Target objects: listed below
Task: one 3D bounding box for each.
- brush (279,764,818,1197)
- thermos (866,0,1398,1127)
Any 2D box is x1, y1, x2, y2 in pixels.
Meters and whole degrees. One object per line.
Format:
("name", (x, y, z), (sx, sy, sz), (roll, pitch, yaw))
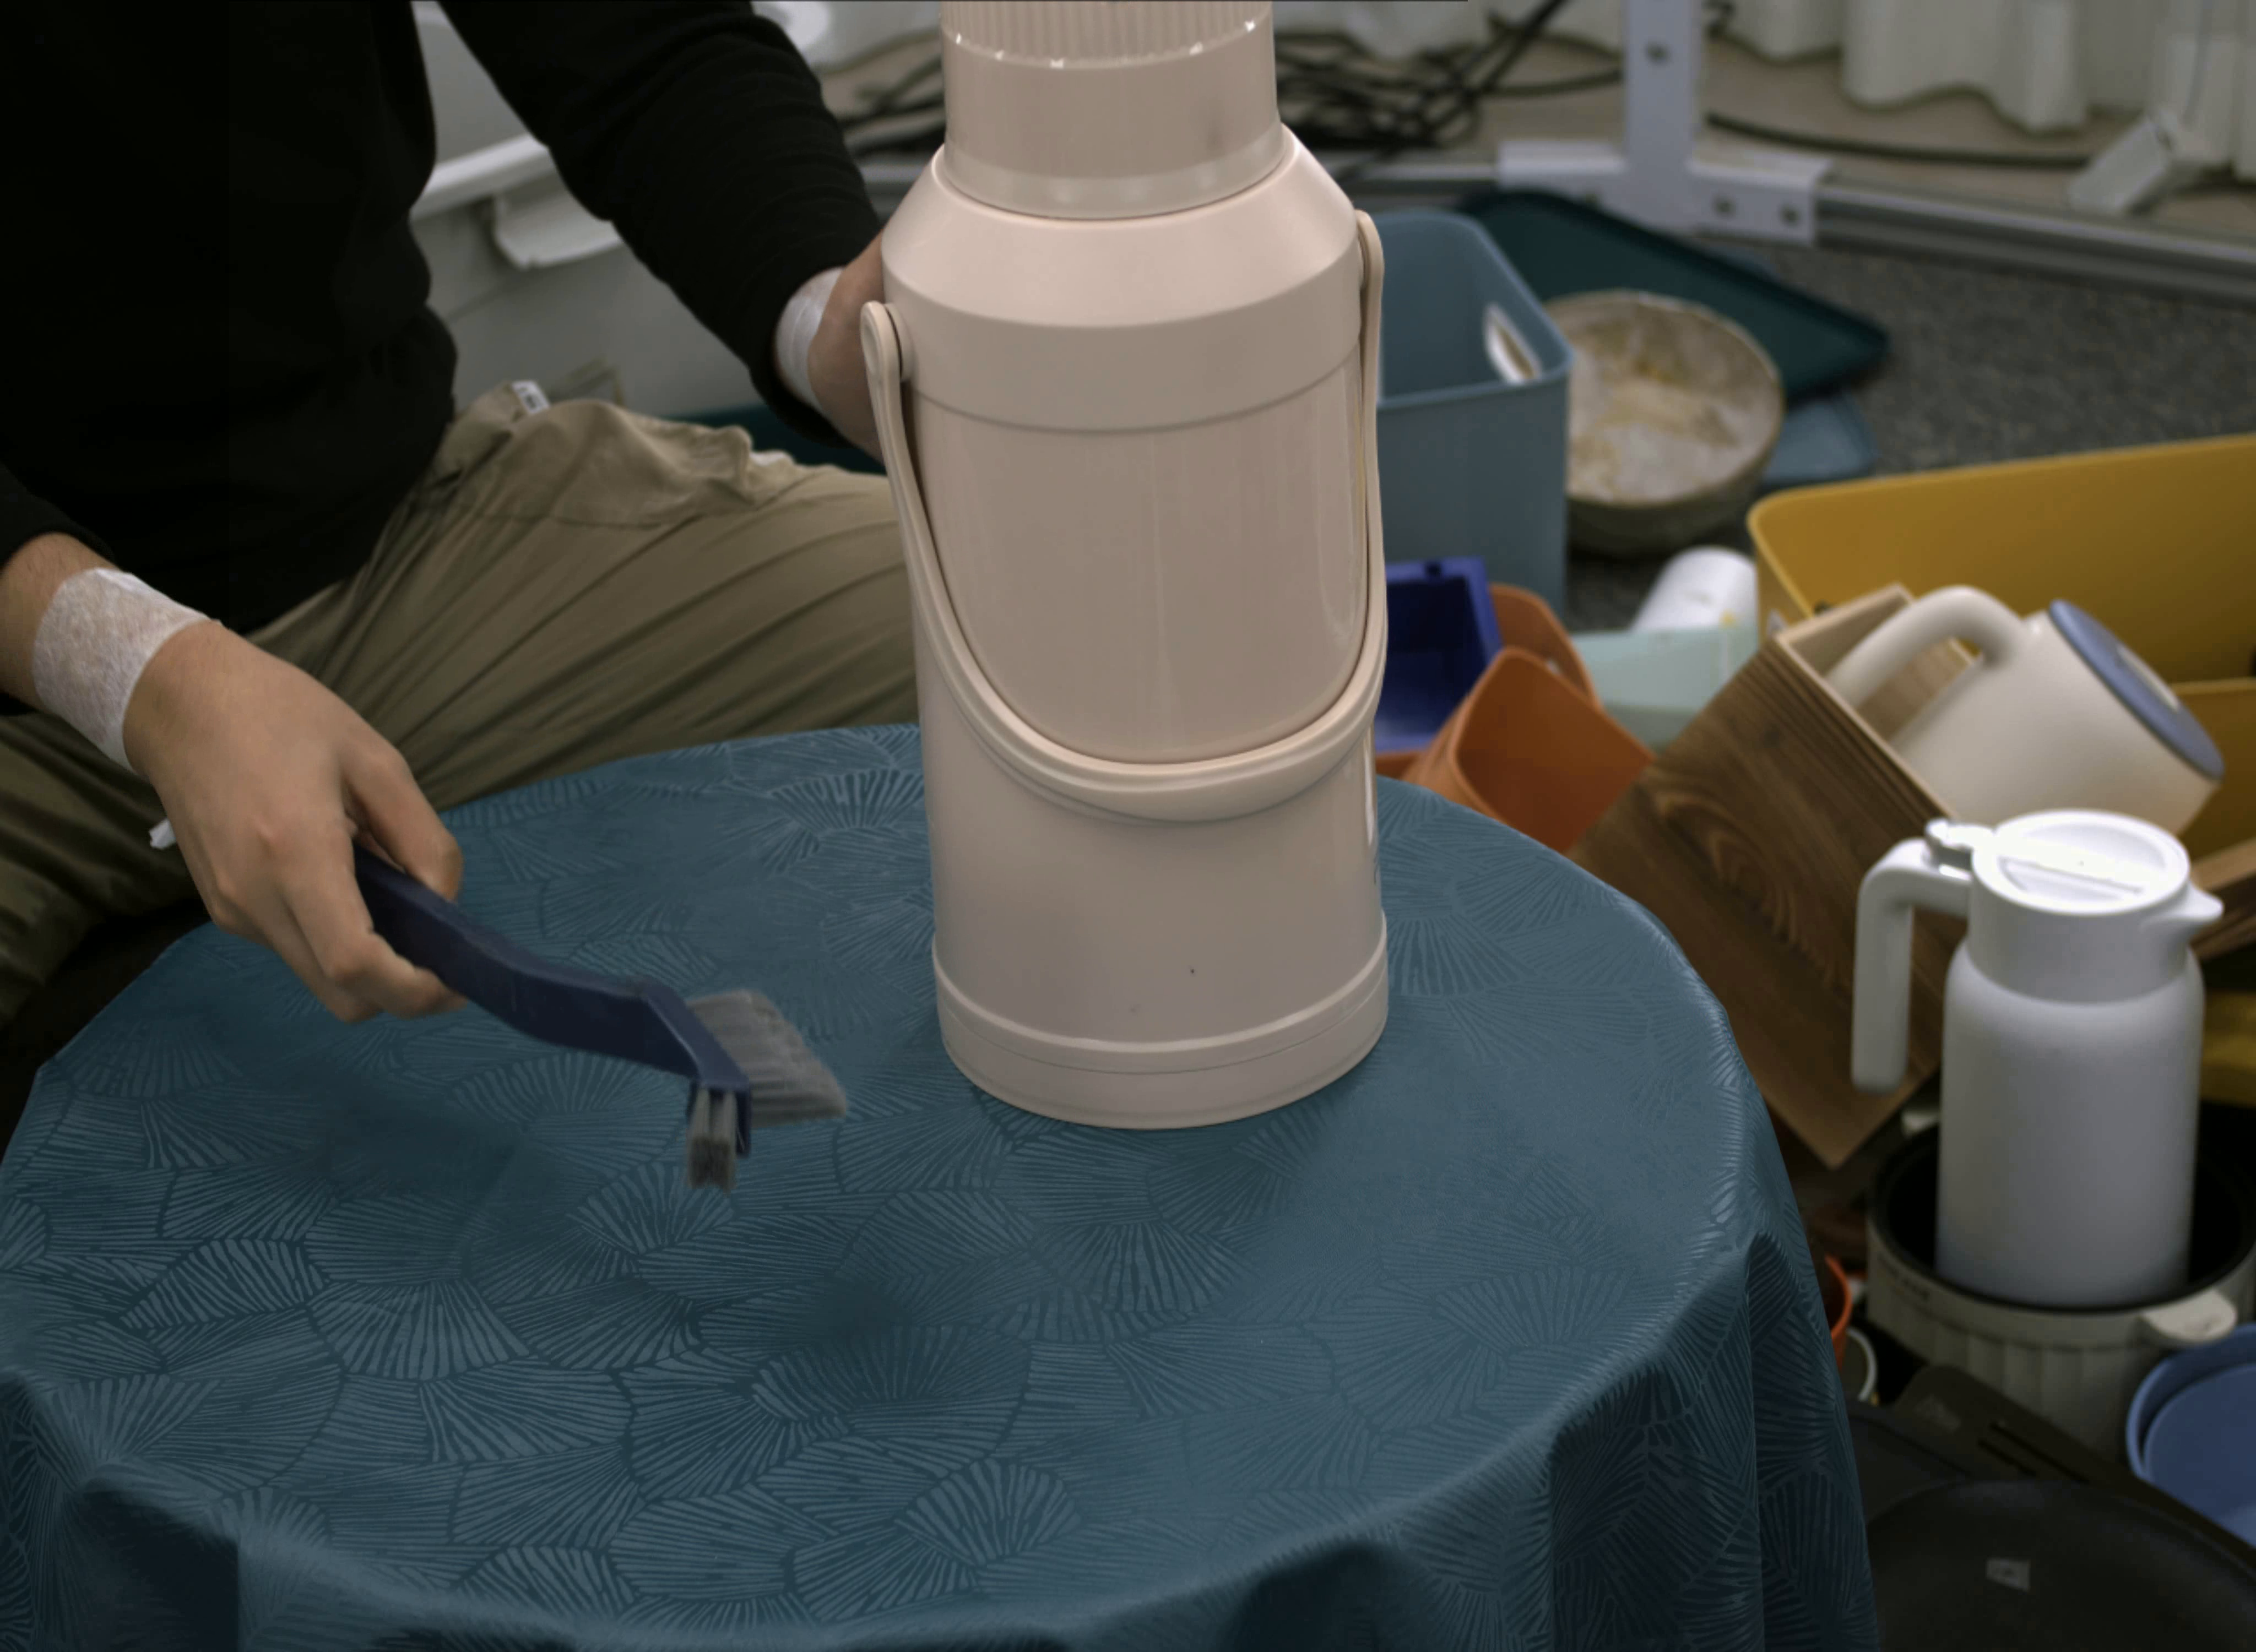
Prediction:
("brush", (-0.206, 0.046, 1.817), (0.272, 0.033, 0.097), (23, 32, 36))
("thermos", (0.001, -0.116, 1.894), (0.176, 0.402, 0.208), (-14, 28, -17))
